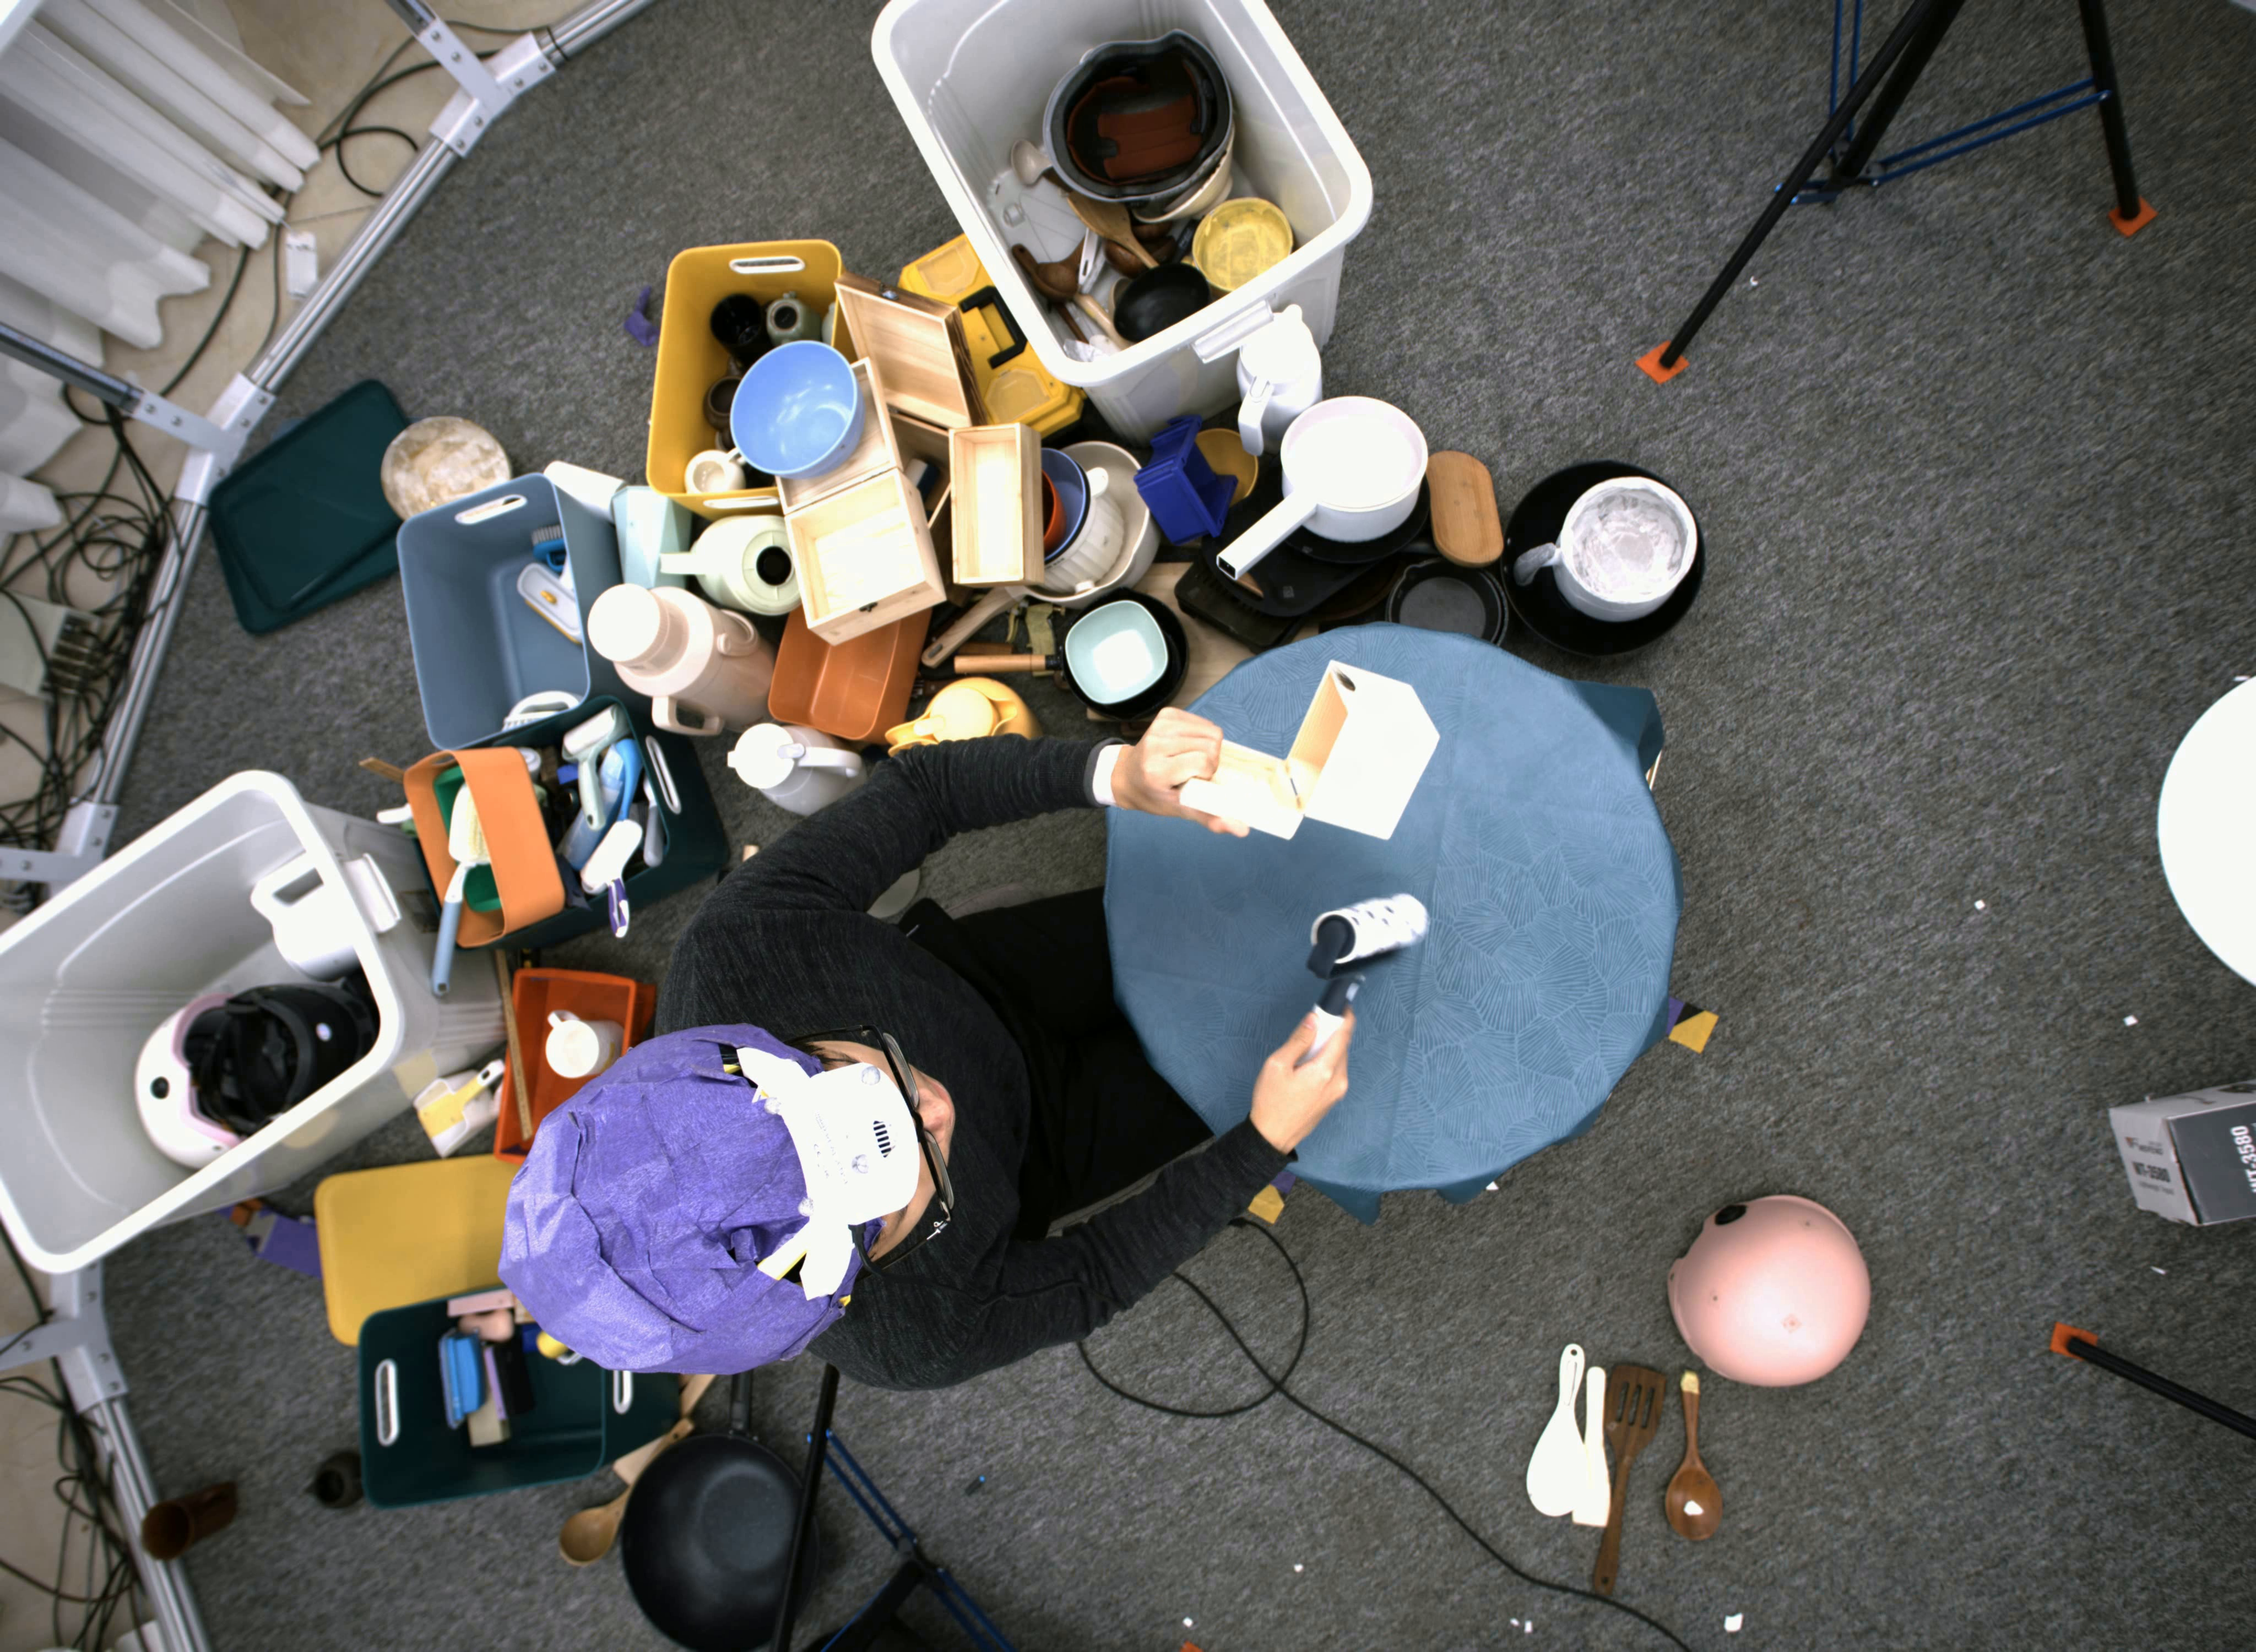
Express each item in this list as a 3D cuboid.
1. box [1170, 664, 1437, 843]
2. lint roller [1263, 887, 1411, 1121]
[{"bbox_3d":[0.141,-0.069,1.149,0.184,0.100,0.137,16,119,-10],"label":"box"},{"bbox_3d":[0.190,0.180,1.331,0.050,0.174,0.251,27,112,24],"label":"lint roller"}]
